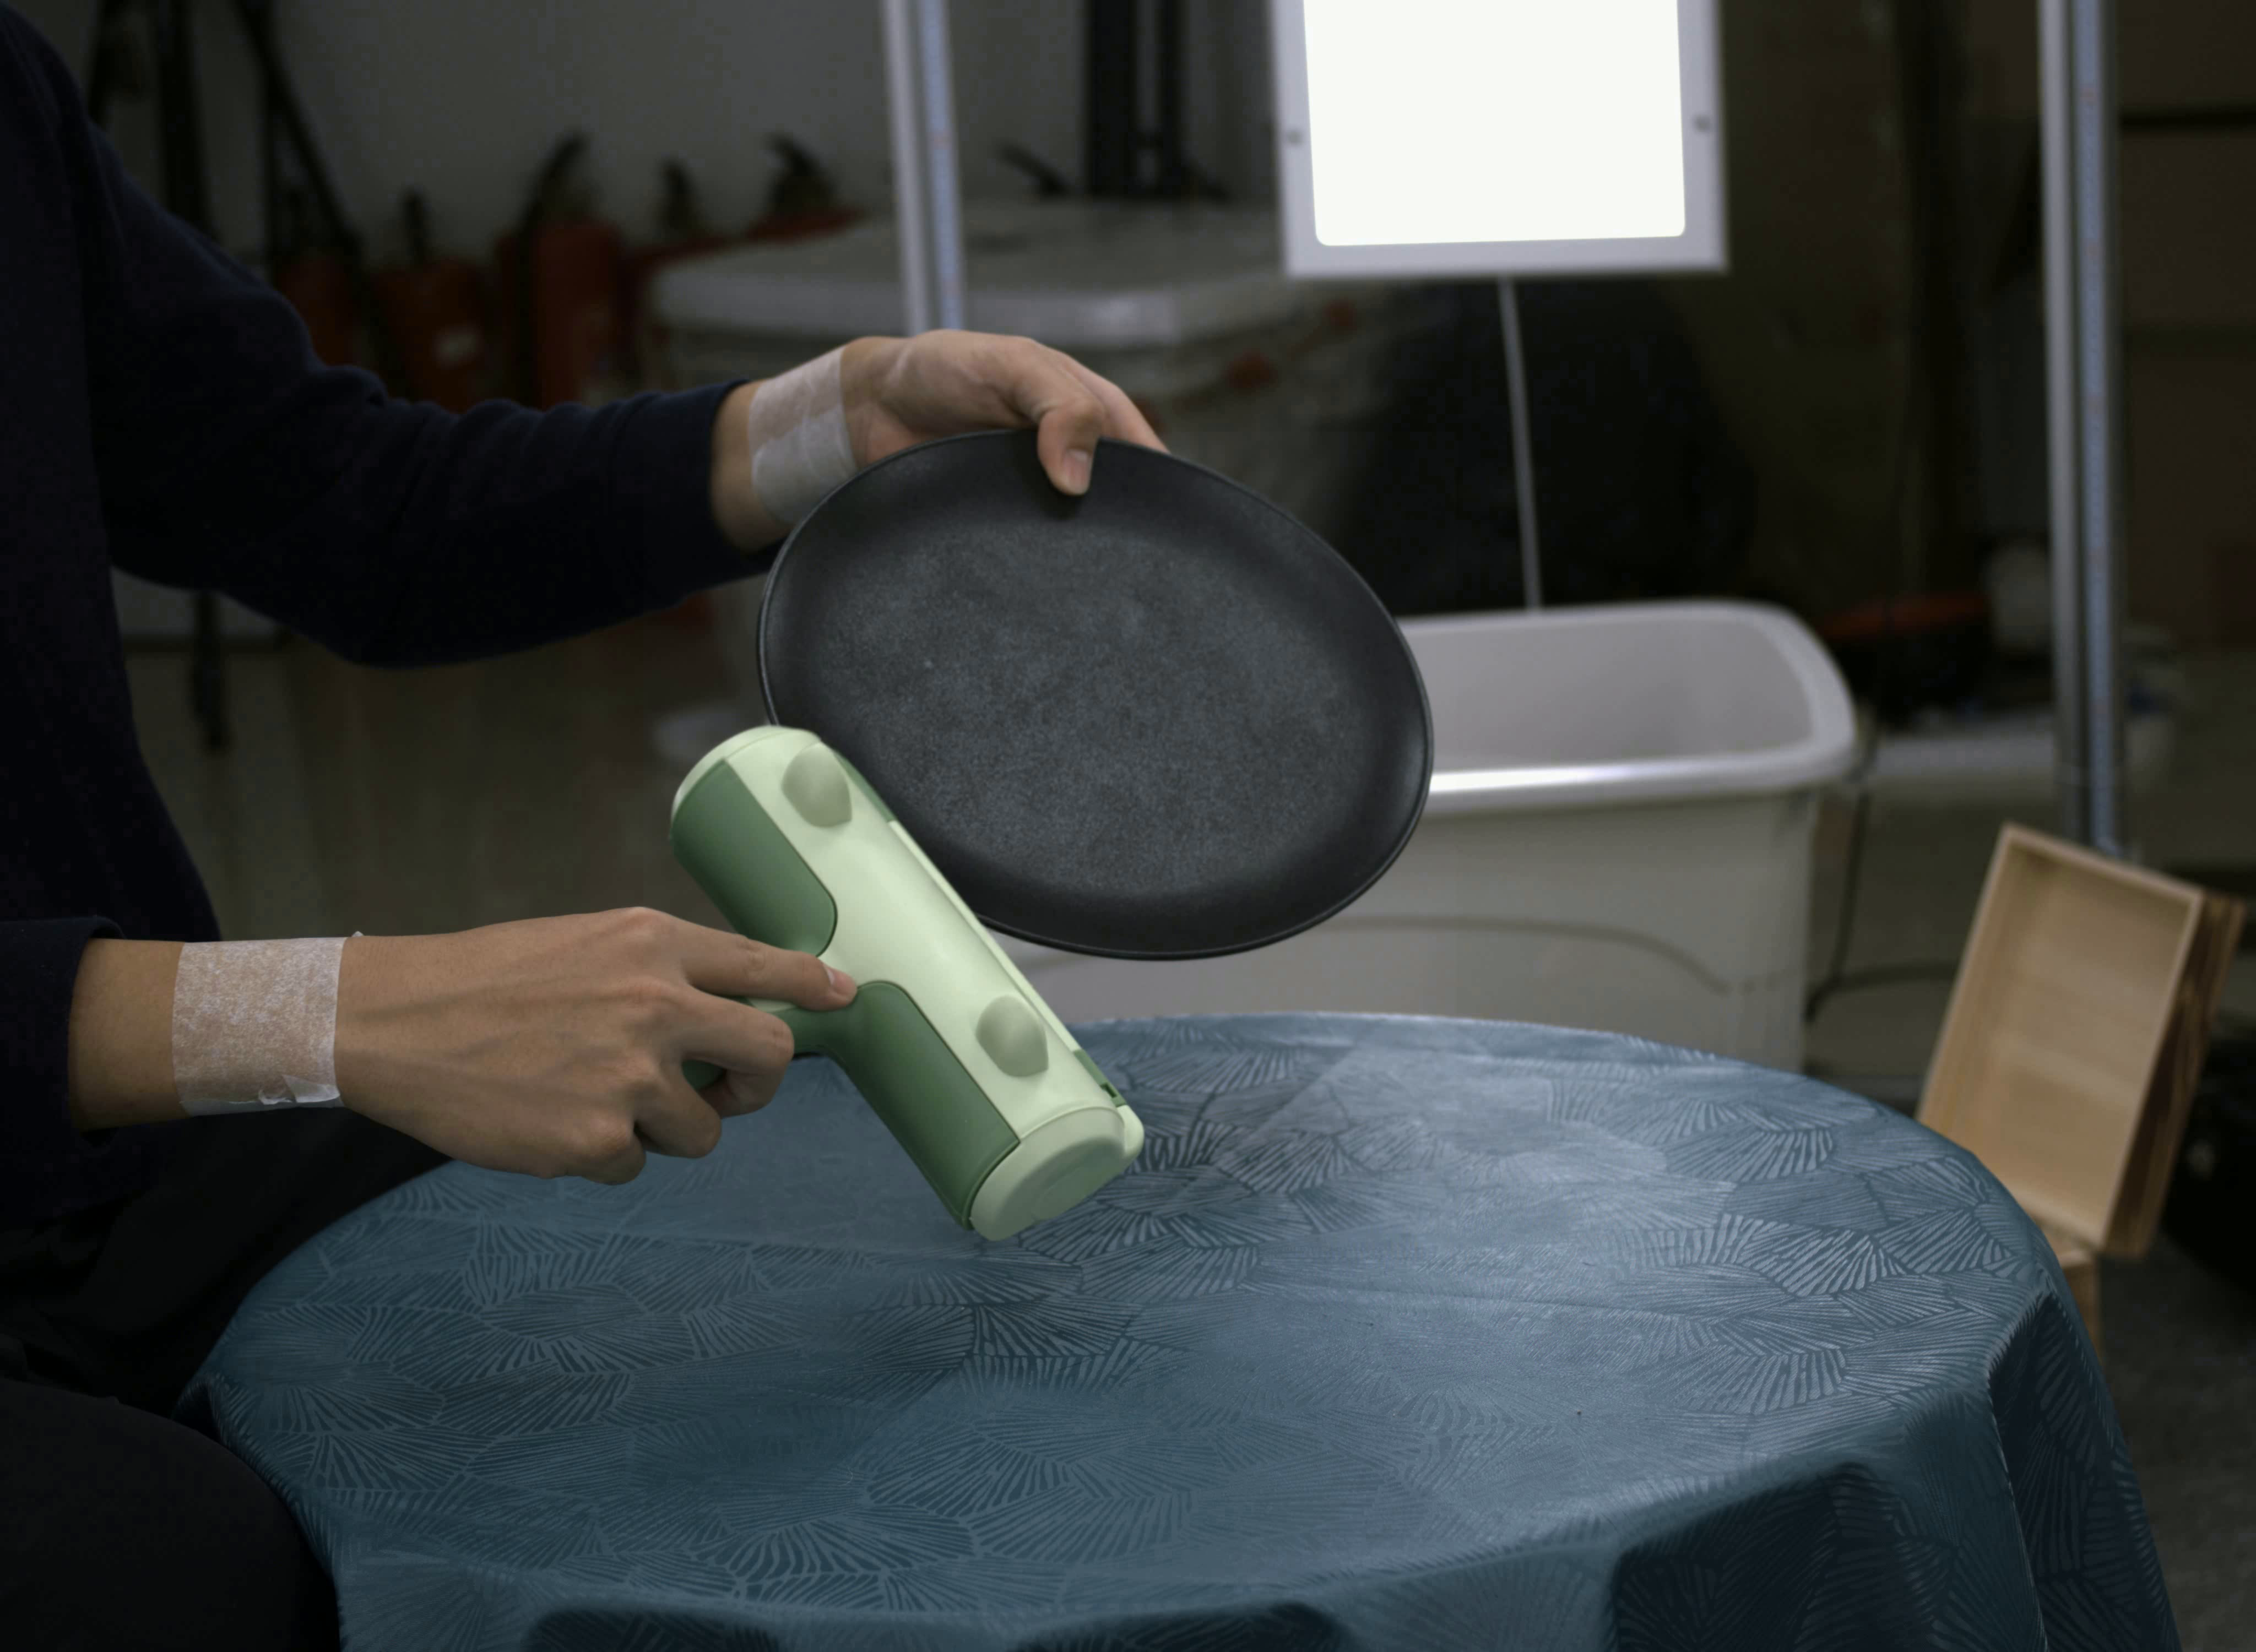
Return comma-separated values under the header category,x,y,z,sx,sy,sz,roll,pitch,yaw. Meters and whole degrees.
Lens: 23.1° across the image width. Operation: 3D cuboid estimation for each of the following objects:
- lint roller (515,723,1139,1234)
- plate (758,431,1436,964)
category,x,y,z,sx,sy,sz,roll,pitch,yaw
lint roller,-0.111,0.046,1.746,0.178,0.083,0.201,-6,46,-46
plate,-0.011,-0.044,1.923,0.242,0.024,0.244,6,49,-9
